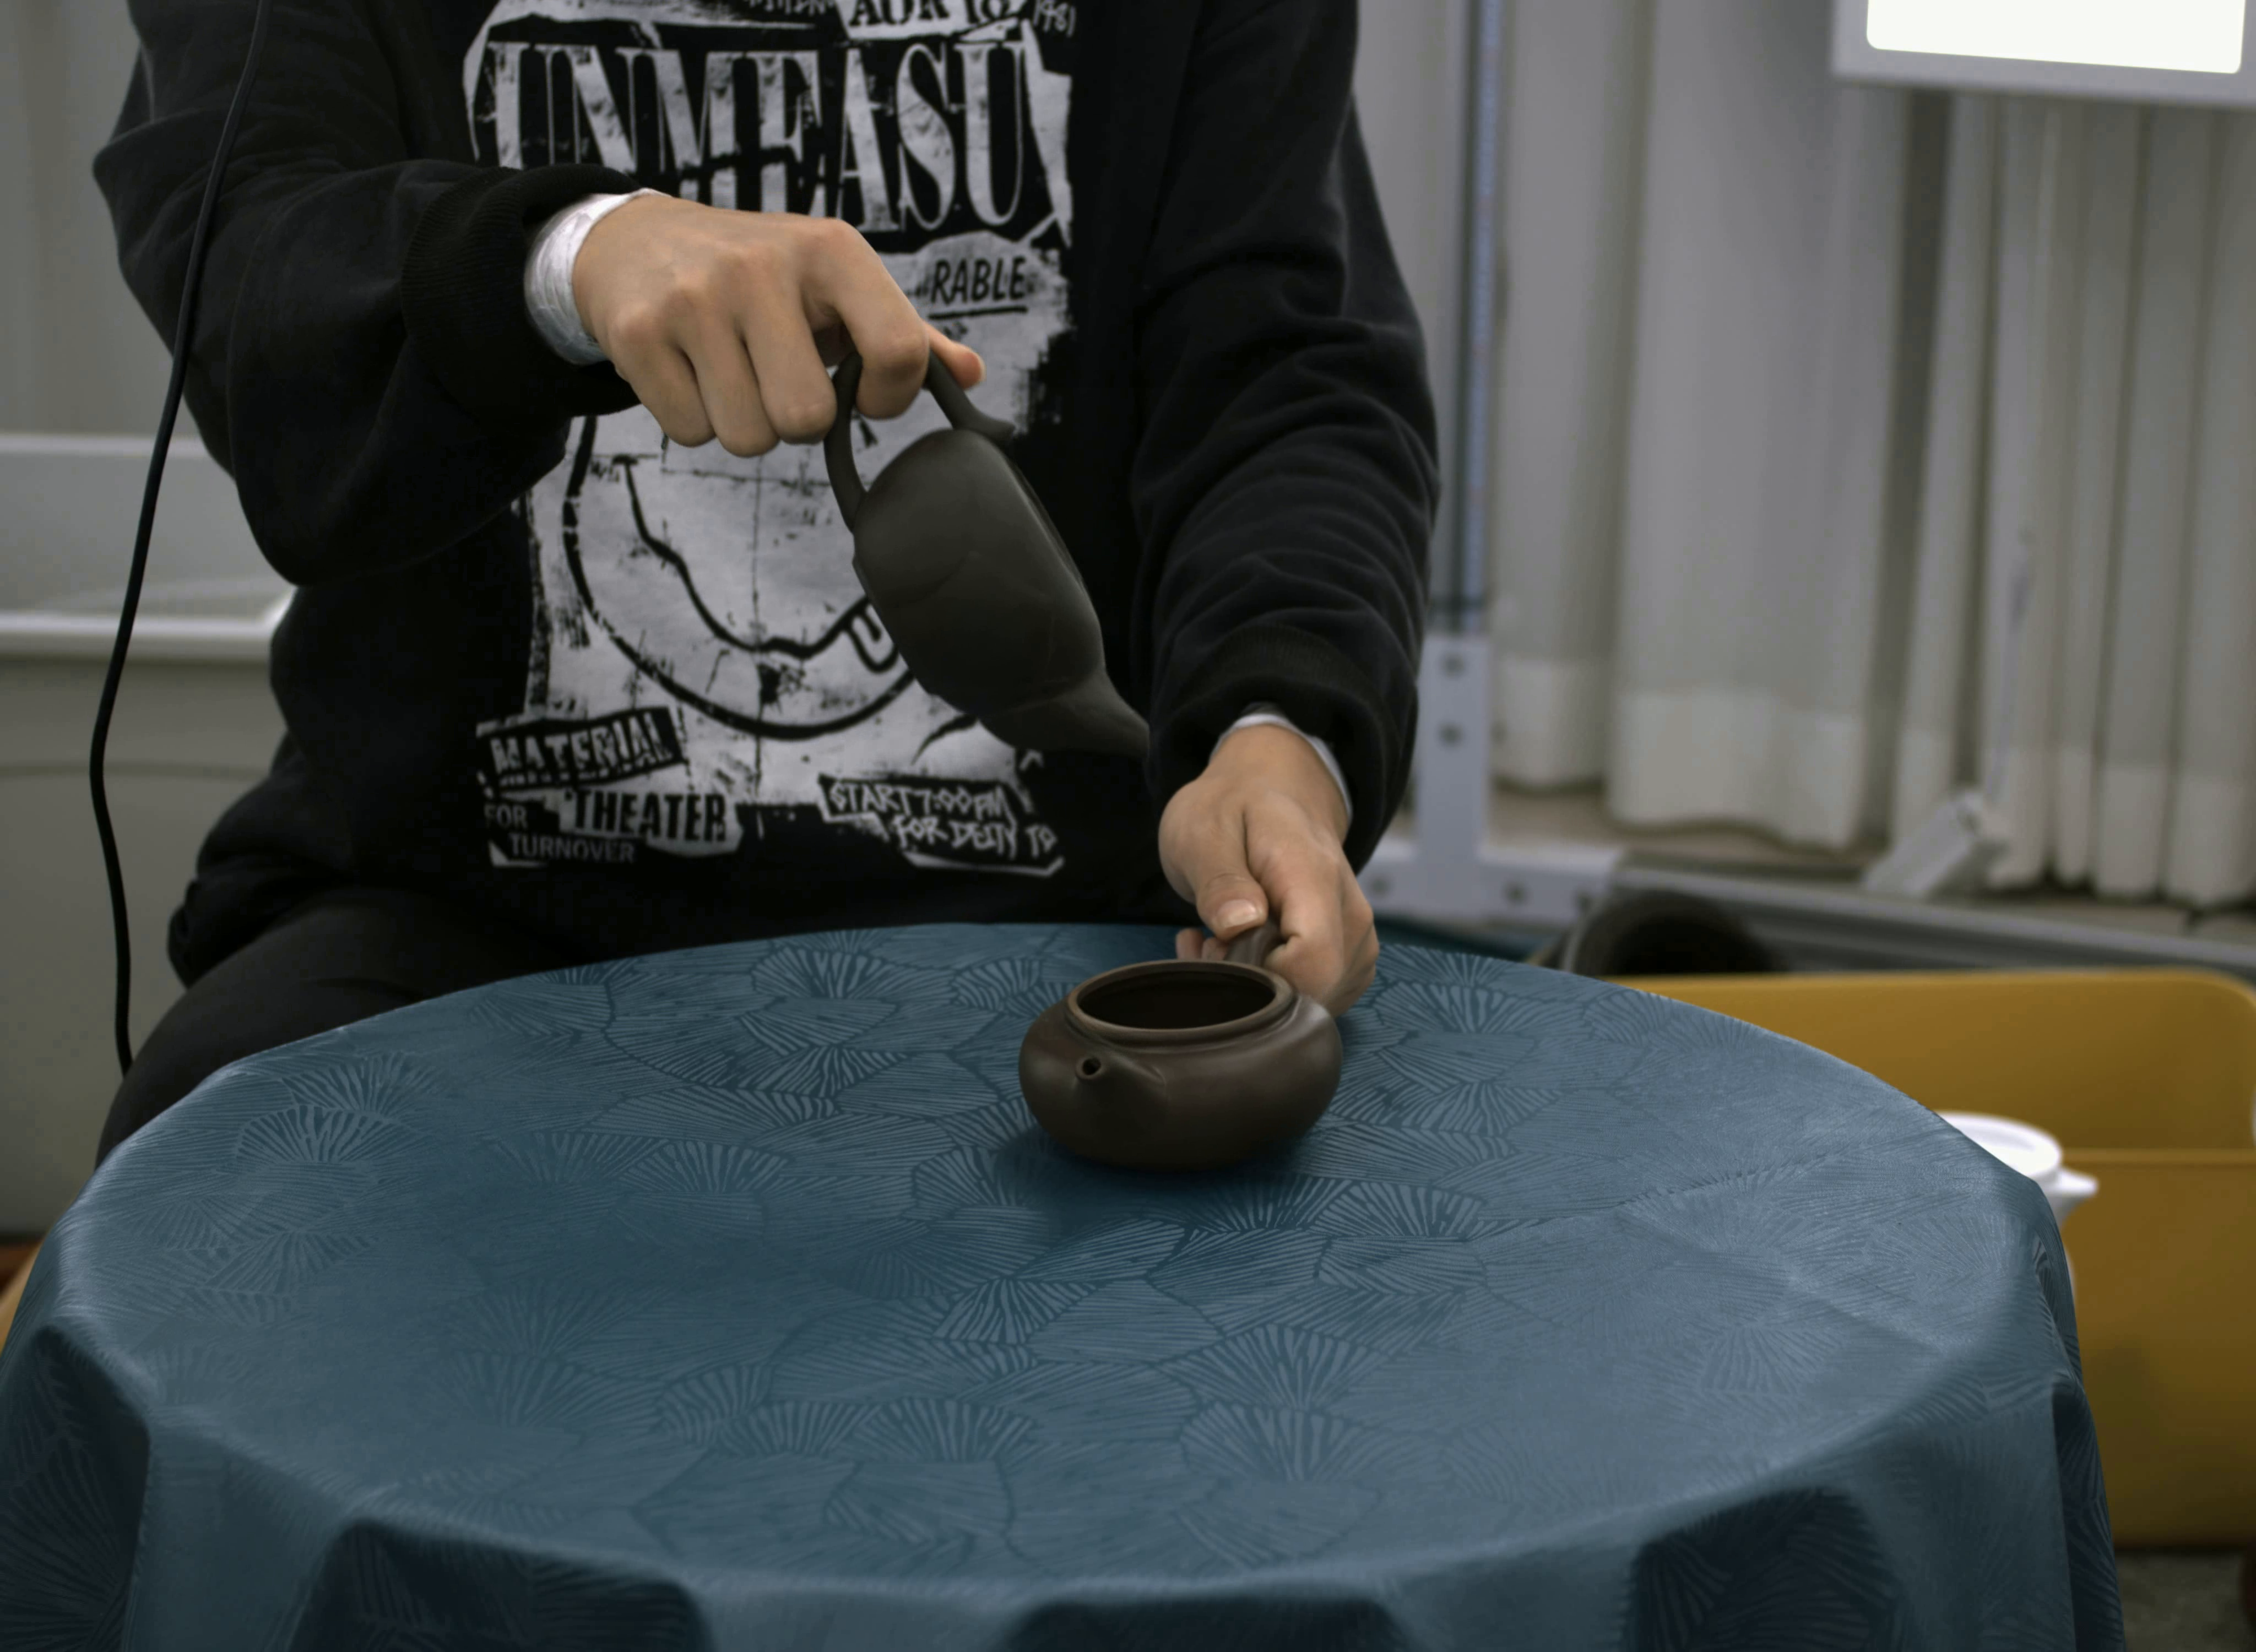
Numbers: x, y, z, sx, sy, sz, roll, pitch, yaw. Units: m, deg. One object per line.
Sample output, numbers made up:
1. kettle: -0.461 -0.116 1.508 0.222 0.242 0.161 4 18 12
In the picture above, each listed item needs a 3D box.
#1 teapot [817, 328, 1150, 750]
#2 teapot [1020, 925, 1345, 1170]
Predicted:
1. teapot: -0.047 -0.081 1.607 0.064 0.154 0.092 -30 -1 0
2. teapot: 0.018 0.071 1.661 0.102 0.054 0.153 5 20 17
